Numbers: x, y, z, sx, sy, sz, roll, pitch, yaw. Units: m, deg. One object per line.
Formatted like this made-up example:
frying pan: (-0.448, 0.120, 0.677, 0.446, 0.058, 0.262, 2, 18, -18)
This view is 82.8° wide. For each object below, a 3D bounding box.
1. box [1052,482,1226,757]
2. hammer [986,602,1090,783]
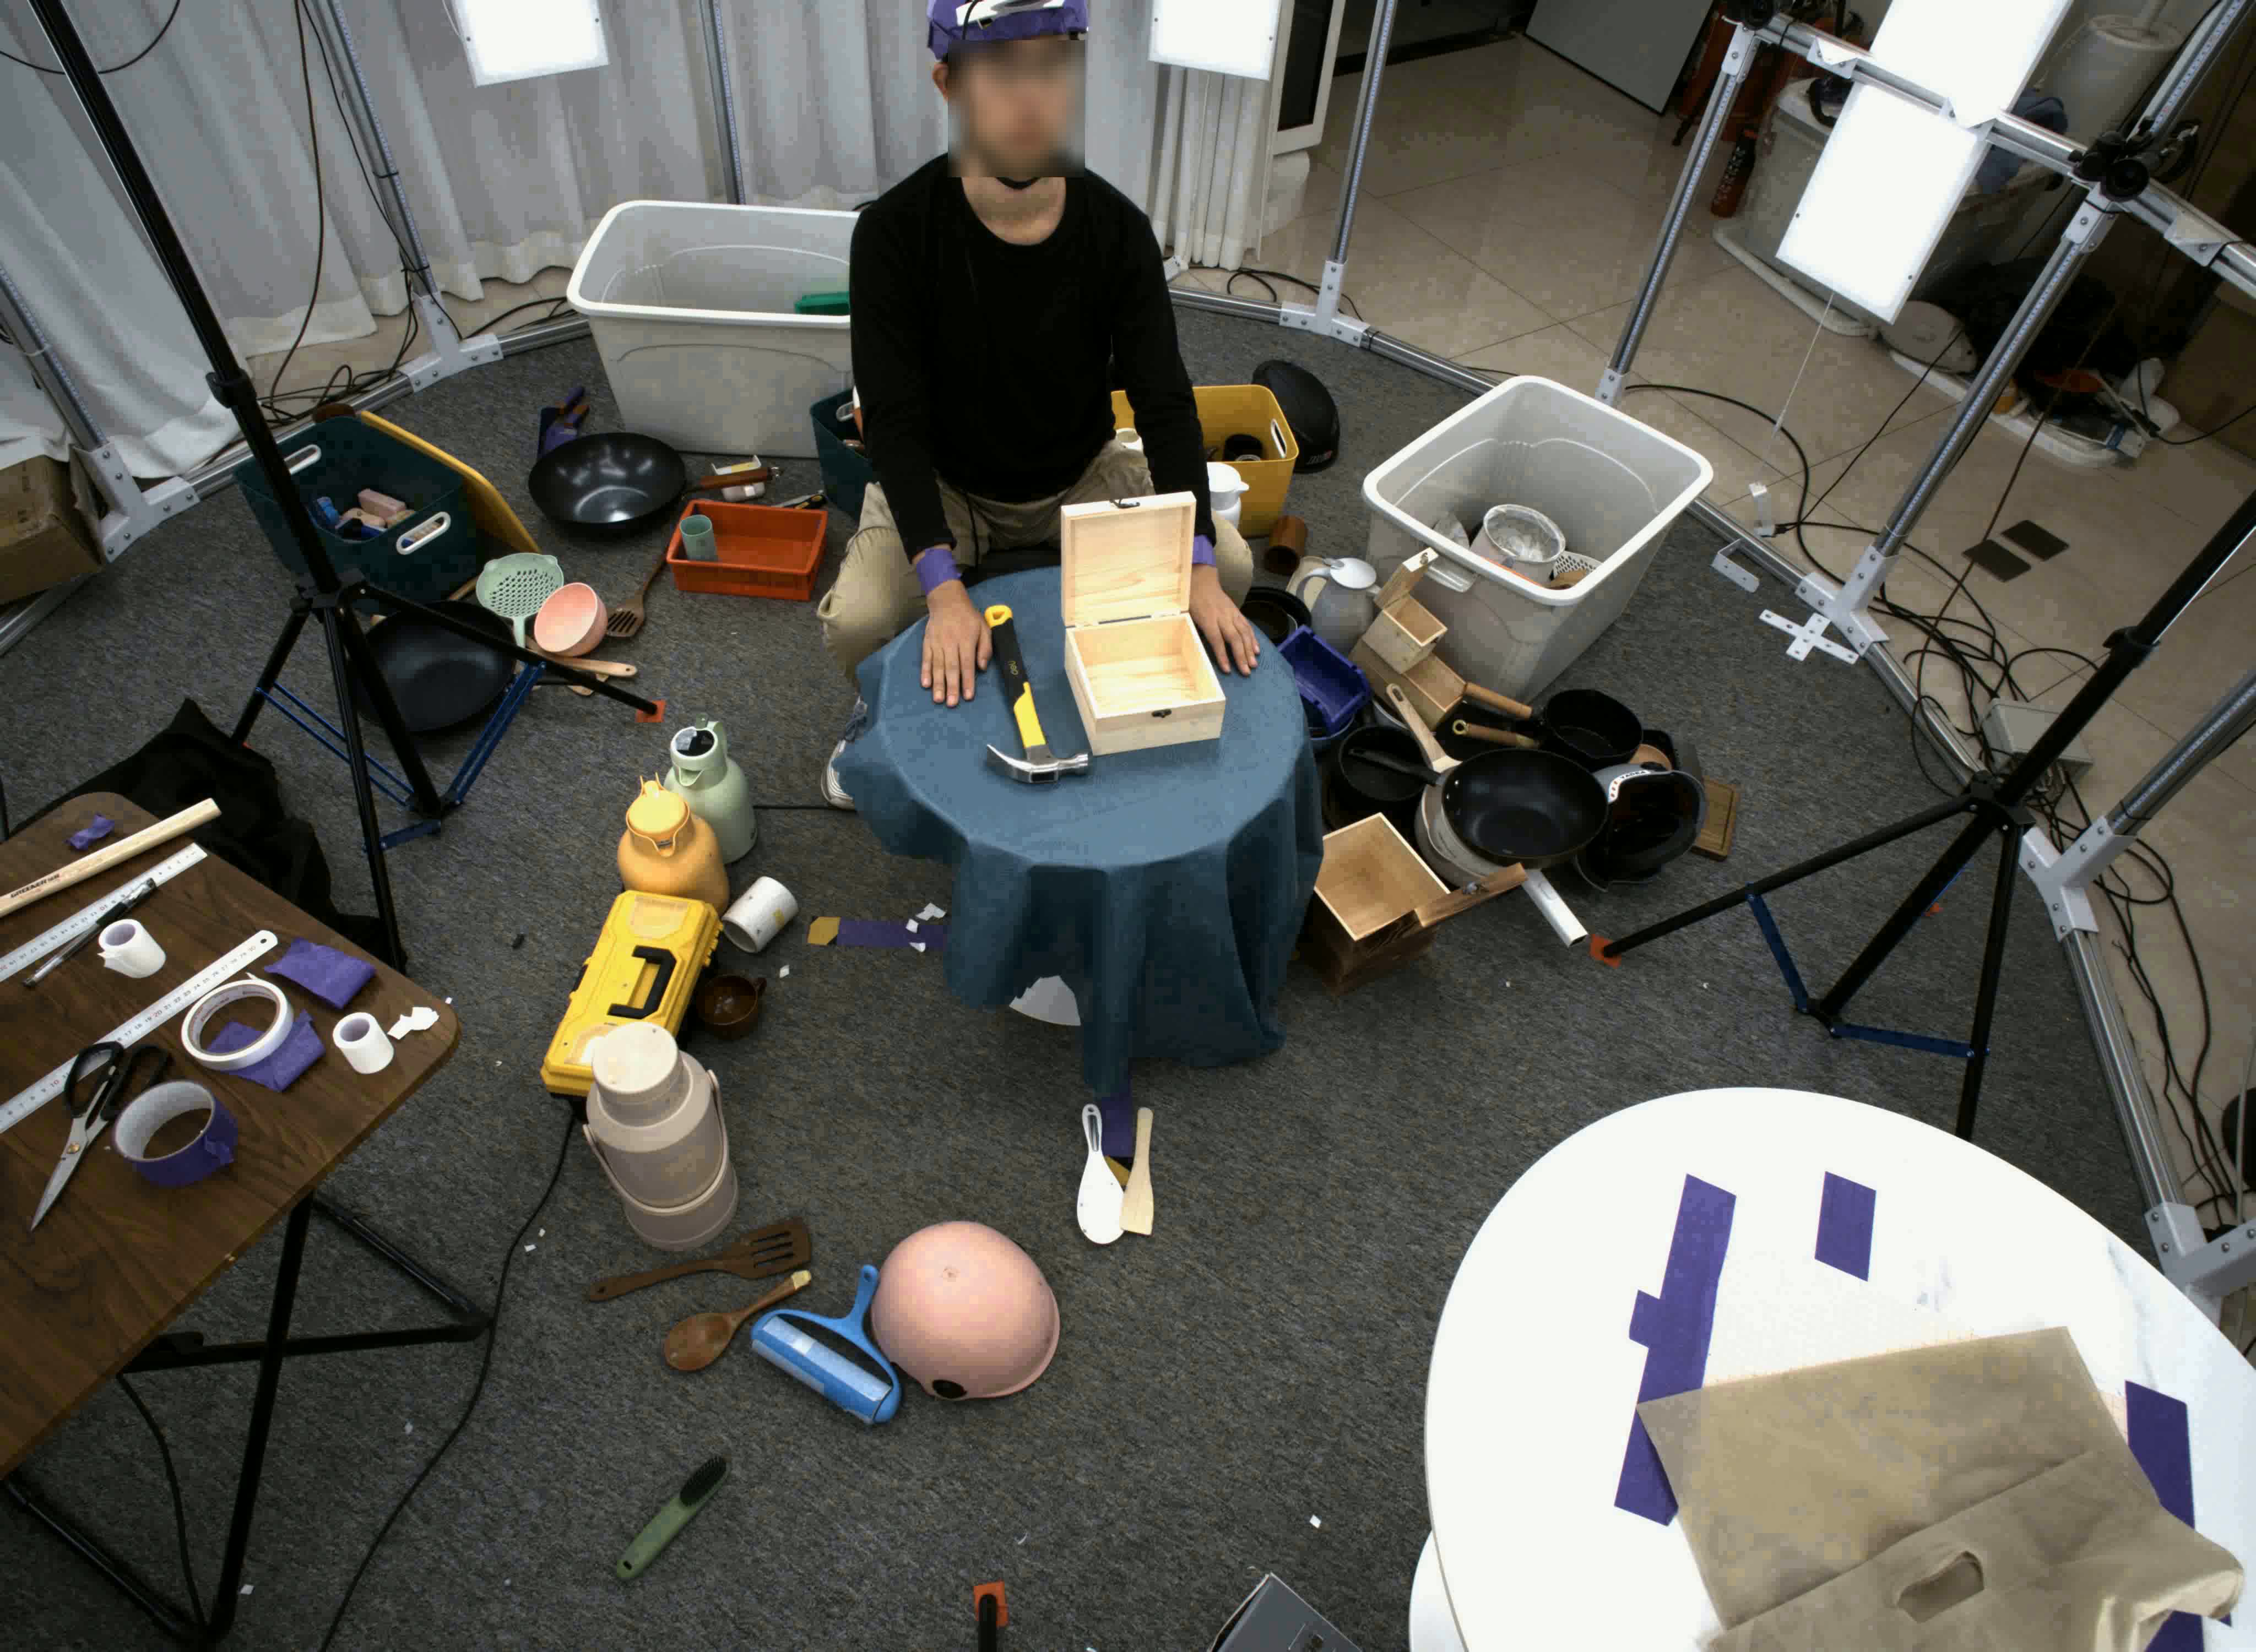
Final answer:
box: (0.016, -0.281, 1.753, 0.181, 0.247, 0.272, -11, 51, -10)
hammer: (-0.152, -0.195, 1.805, 0.131, 0.031, 0.347, -8, 51, -11)
